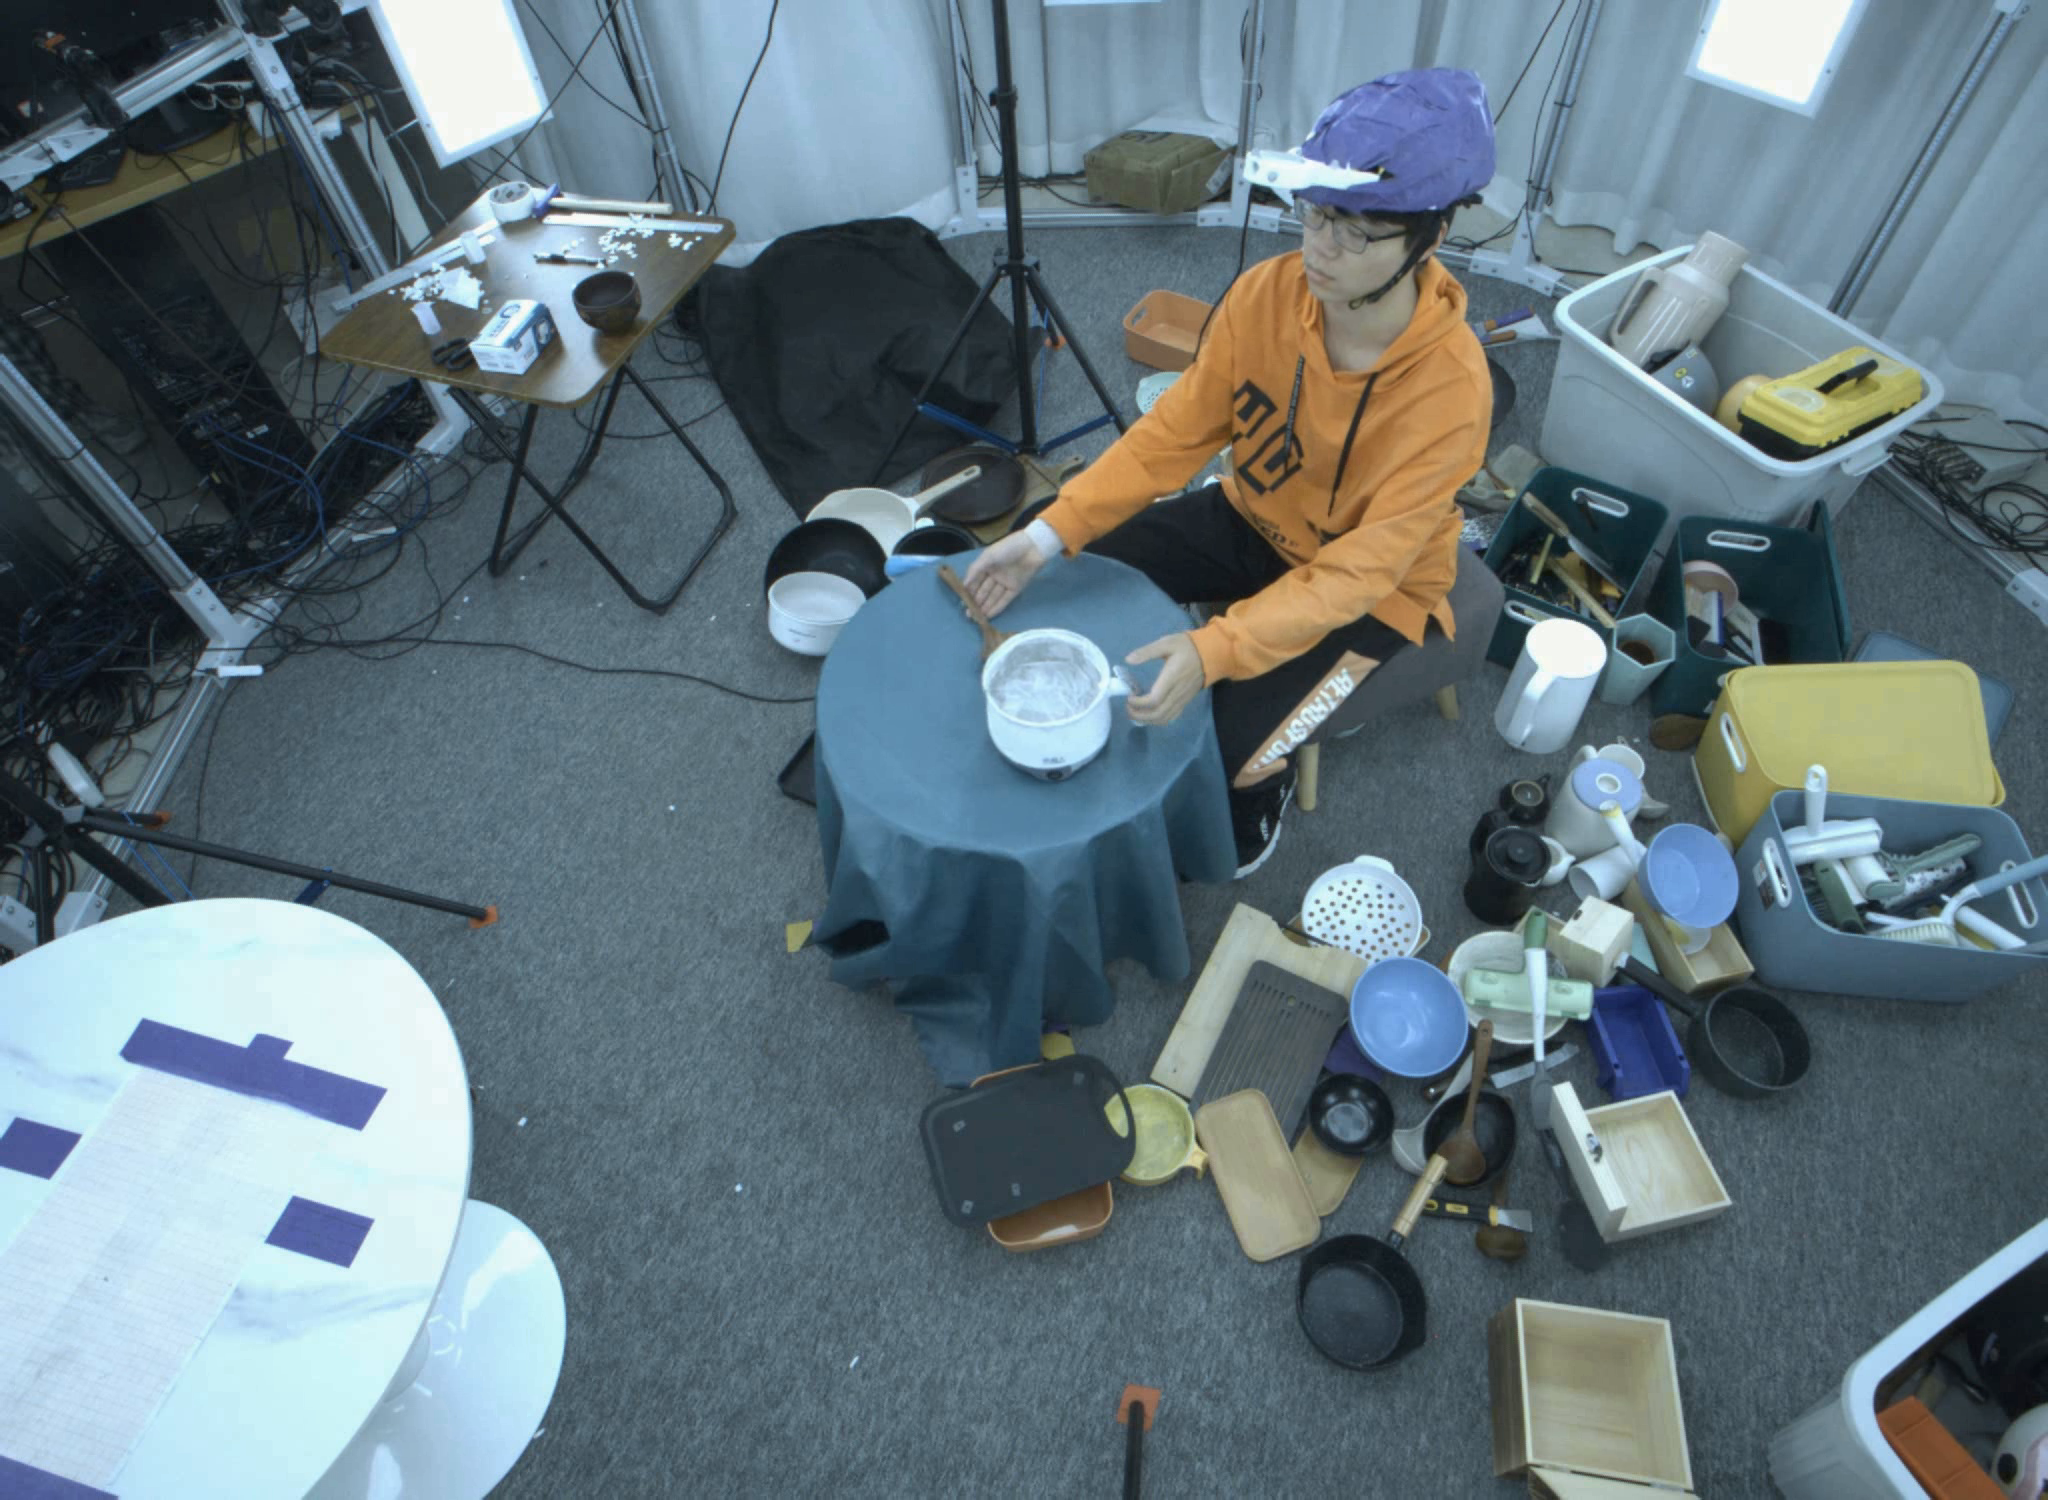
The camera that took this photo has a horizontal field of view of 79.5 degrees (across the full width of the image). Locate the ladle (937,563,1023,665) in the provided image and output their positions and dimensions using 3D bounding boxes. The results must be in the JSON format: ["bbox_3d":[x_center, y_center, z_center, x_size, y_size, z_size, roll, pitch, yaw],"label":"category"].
[{"bbox_3d":[-0.078,-0.224,1.909,0.077,0.066,0.255,-25,58,-12],"label":"ladle"}]

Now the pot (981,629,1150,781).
[{"bbox_3d":[0.062,-0.067,1.747,0.234,0.138,0.176,-6,55,-1],"label":"pot"}]
